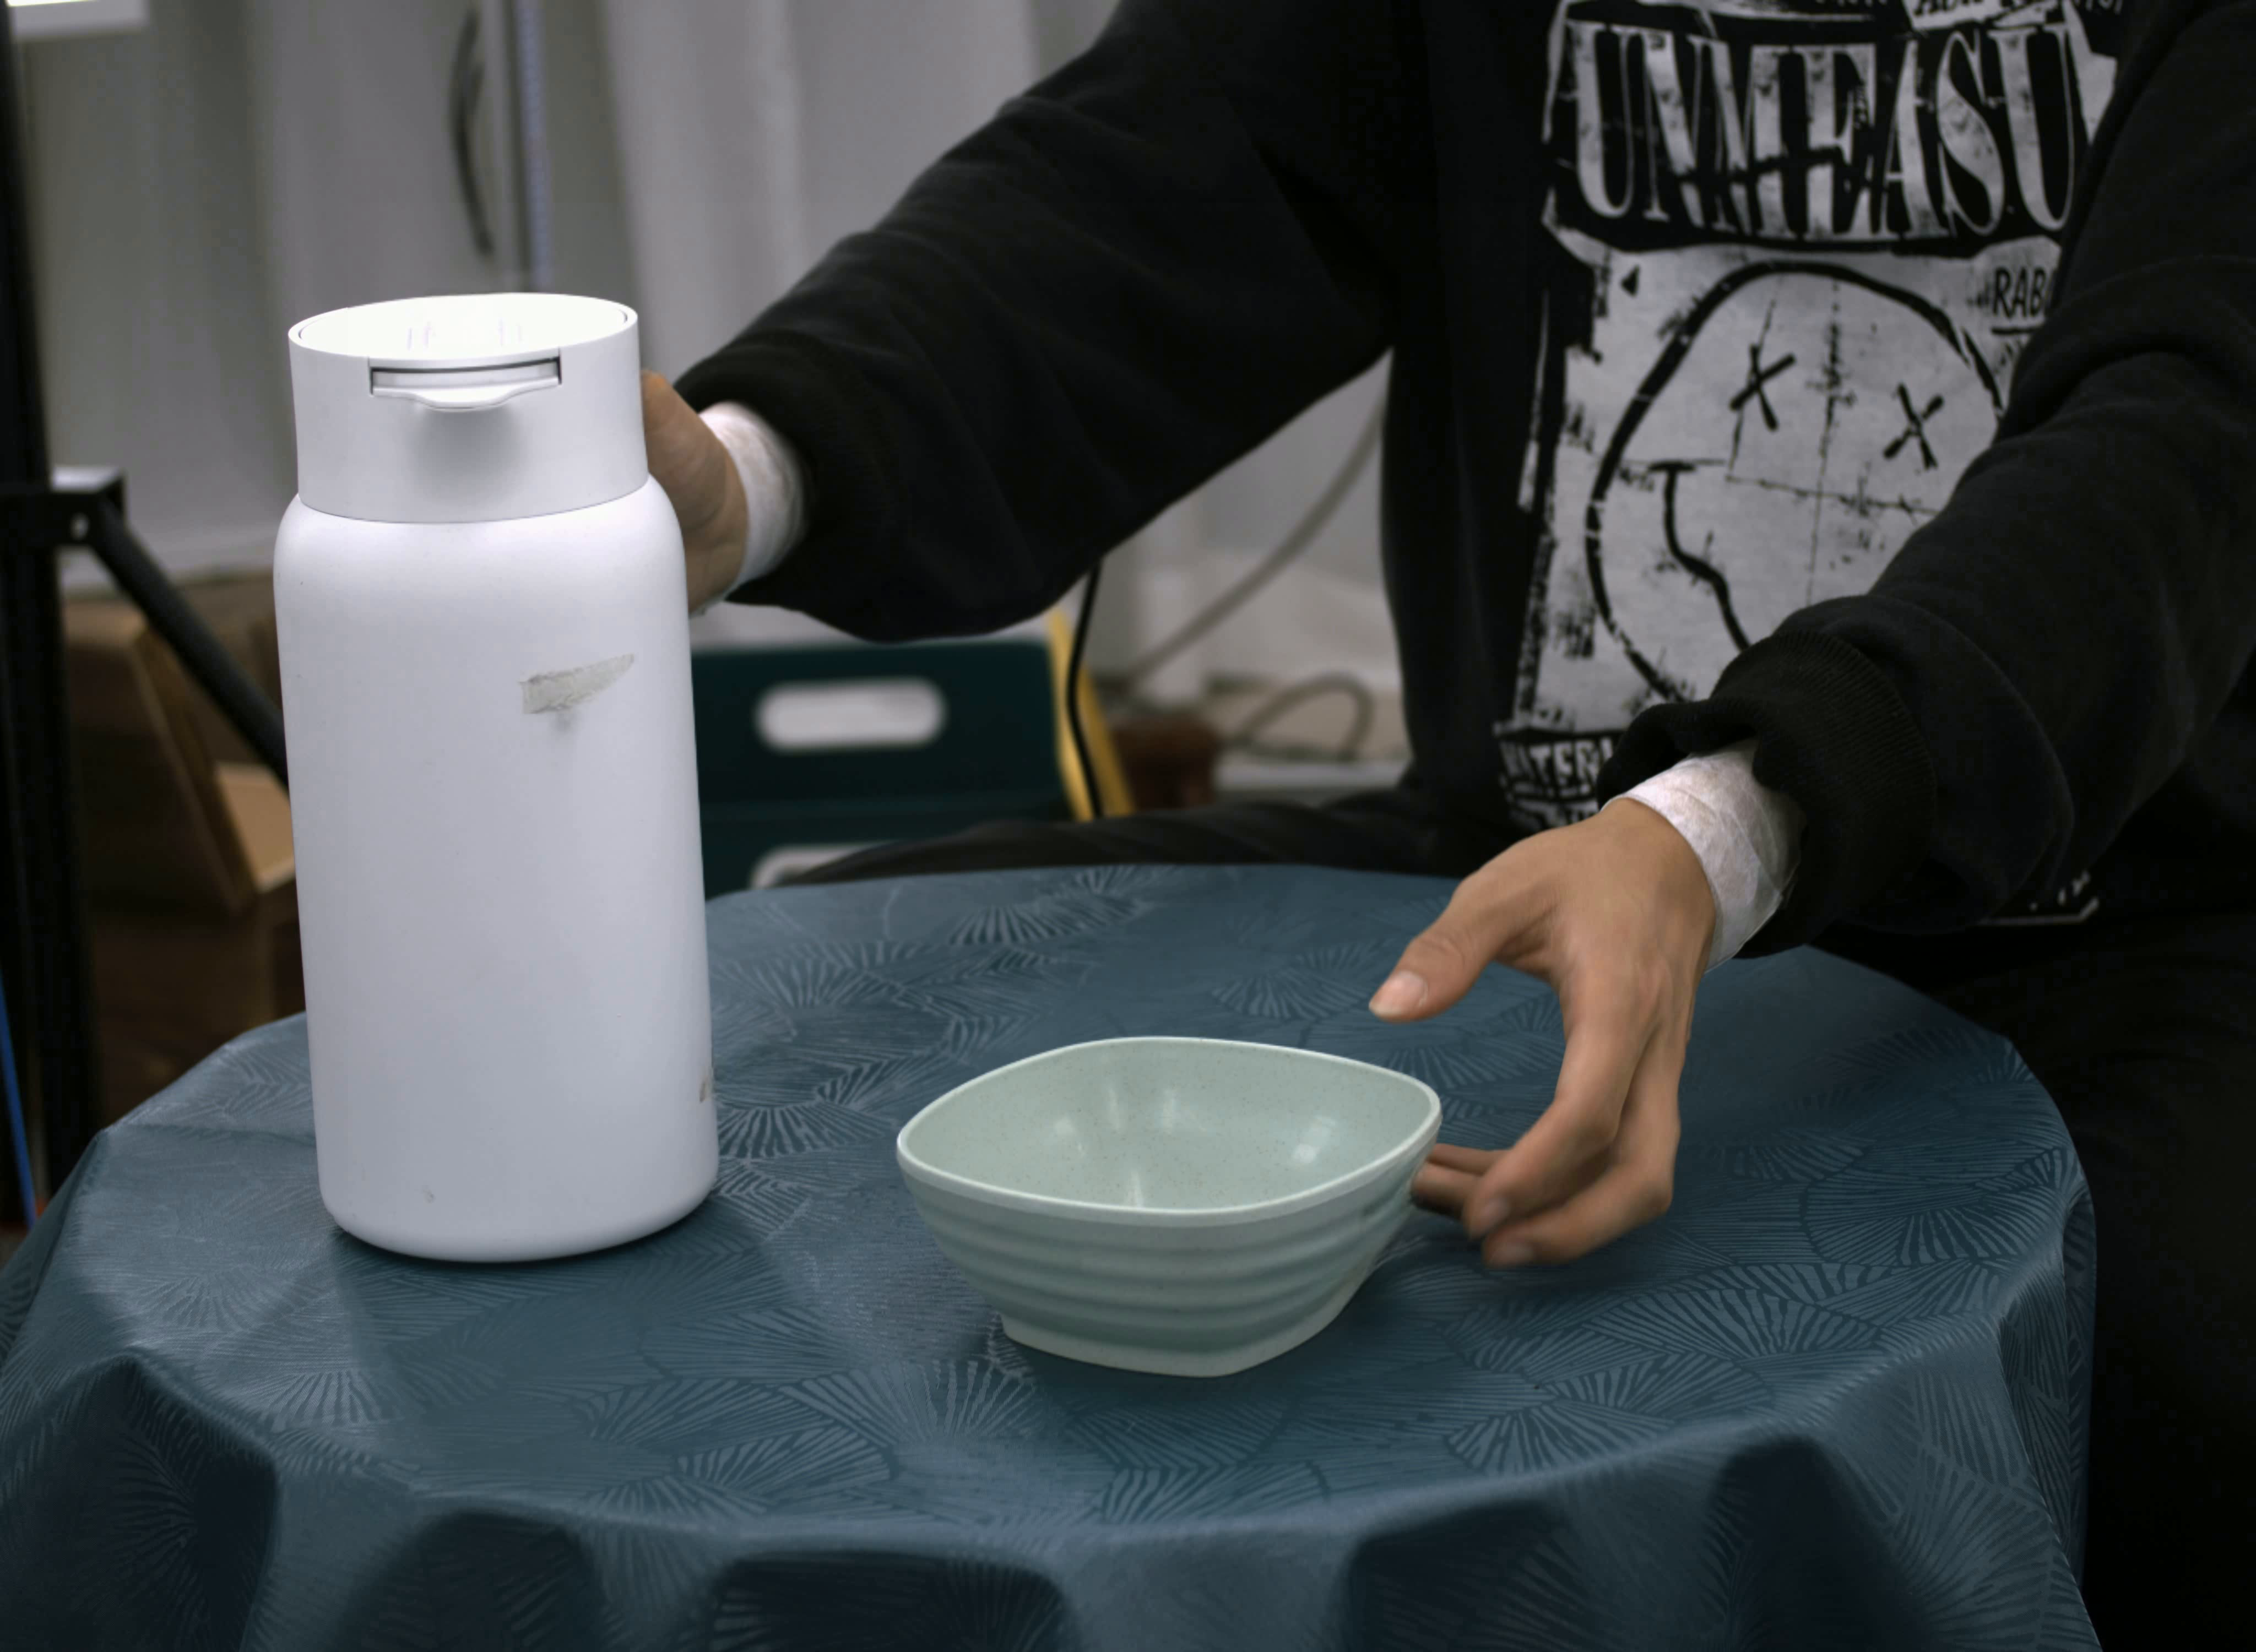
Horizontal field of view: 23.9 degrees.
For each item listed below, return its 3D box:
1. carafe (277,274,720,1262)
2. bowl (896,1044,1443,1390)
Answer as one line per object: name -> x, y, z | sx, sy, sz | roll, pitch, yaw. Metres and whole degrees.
carafe -> -0.185, -0.021, 1.554 | 0.123, 0.269, 0.174 | -6, 15, -6
bowl -> 0.012, 0.110, 1.450 | 0.150, 0.058, 0.152 | -2, 15, -1
